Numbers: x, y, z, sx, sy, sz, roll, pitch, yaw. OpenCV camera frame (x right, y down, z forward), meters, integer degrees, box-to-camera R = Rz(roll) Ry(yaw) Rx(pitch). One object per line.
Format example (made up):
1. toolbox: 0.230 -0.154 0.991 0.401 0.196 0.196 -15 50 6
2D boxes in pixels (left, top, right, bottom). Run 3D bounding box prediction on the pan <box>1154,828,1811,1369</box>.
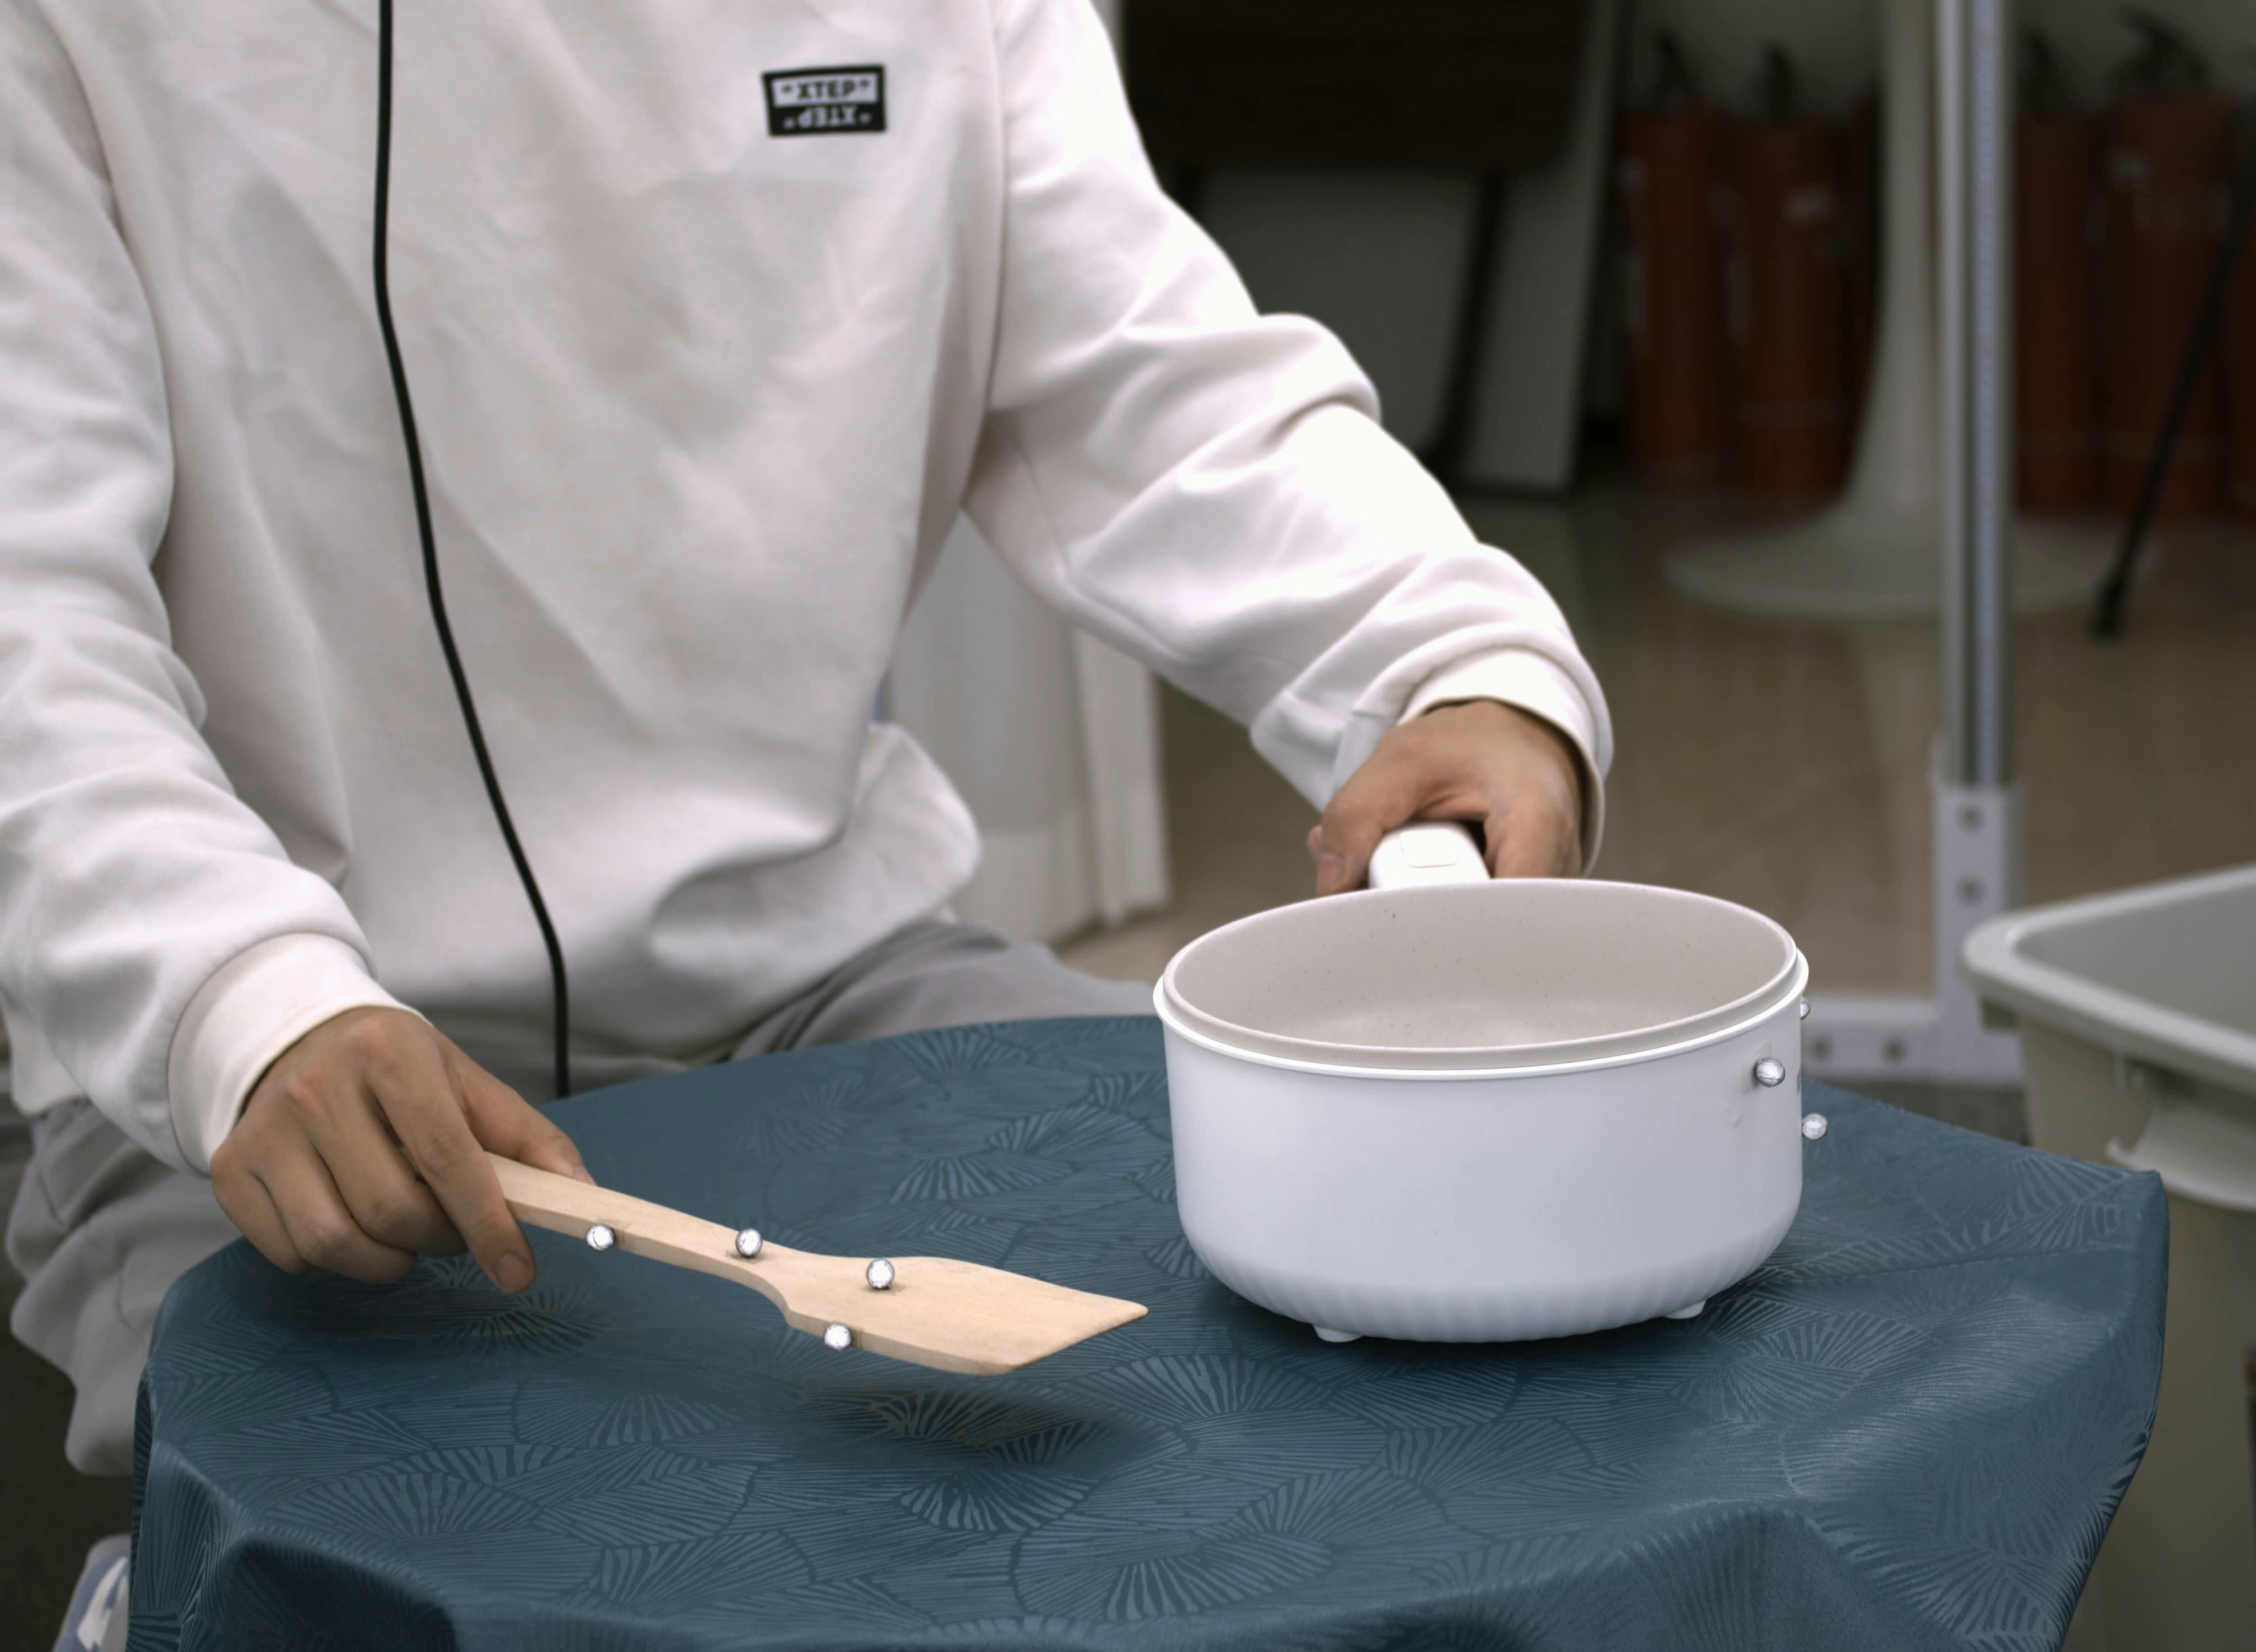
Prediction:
1. pan: 0.109 0.081 1.729 0.198 0.103 0.355 -8 11 -1
